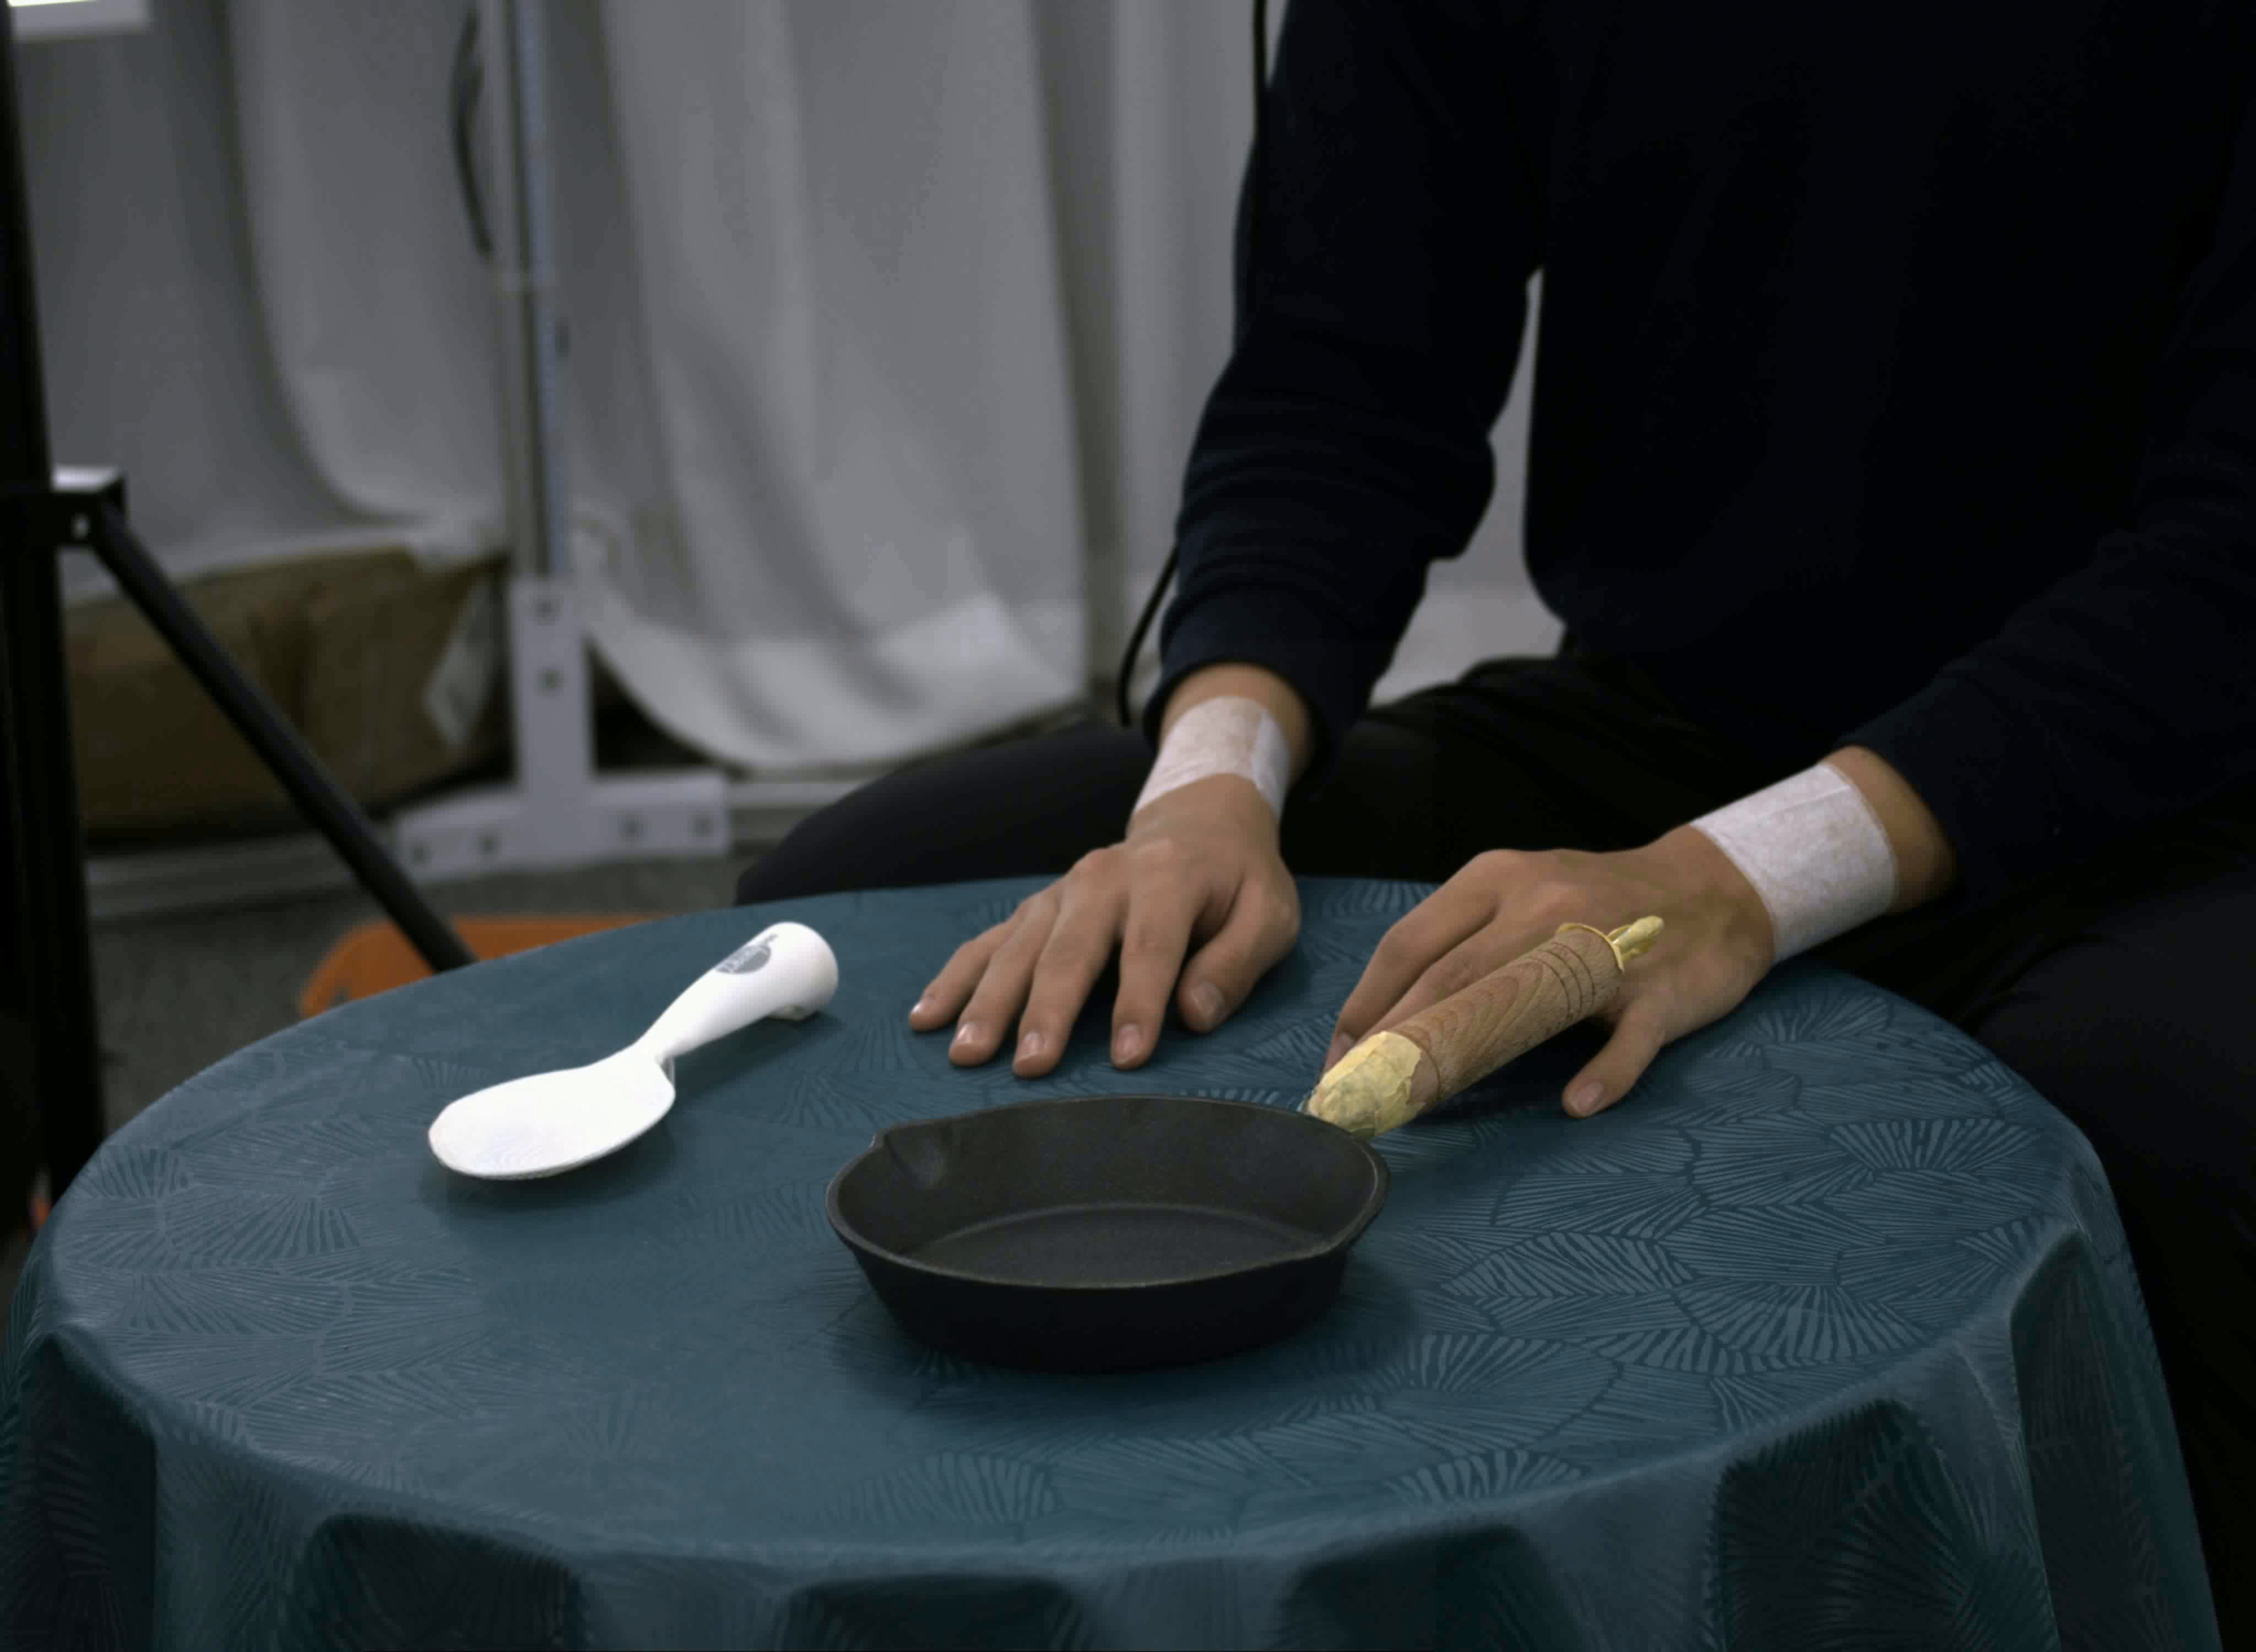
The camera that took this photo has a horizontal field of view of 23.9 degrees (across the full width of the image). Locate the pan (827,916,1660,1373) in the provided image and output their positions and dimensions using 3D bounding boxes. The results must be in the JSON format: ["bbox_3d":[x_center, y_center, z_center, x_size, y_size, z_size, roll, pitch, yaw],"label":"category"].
[{"bbox_3d":[0.053,0.088,1.528,0.173,0.049,0.317,12,23,44],"label":"pan"}]

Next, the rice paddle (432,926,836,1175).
[{"bbox_3d":[-0.149,0.072,1.656,0.070,0.029,0.202,2,16,24],"label":"rice paddle"}]
